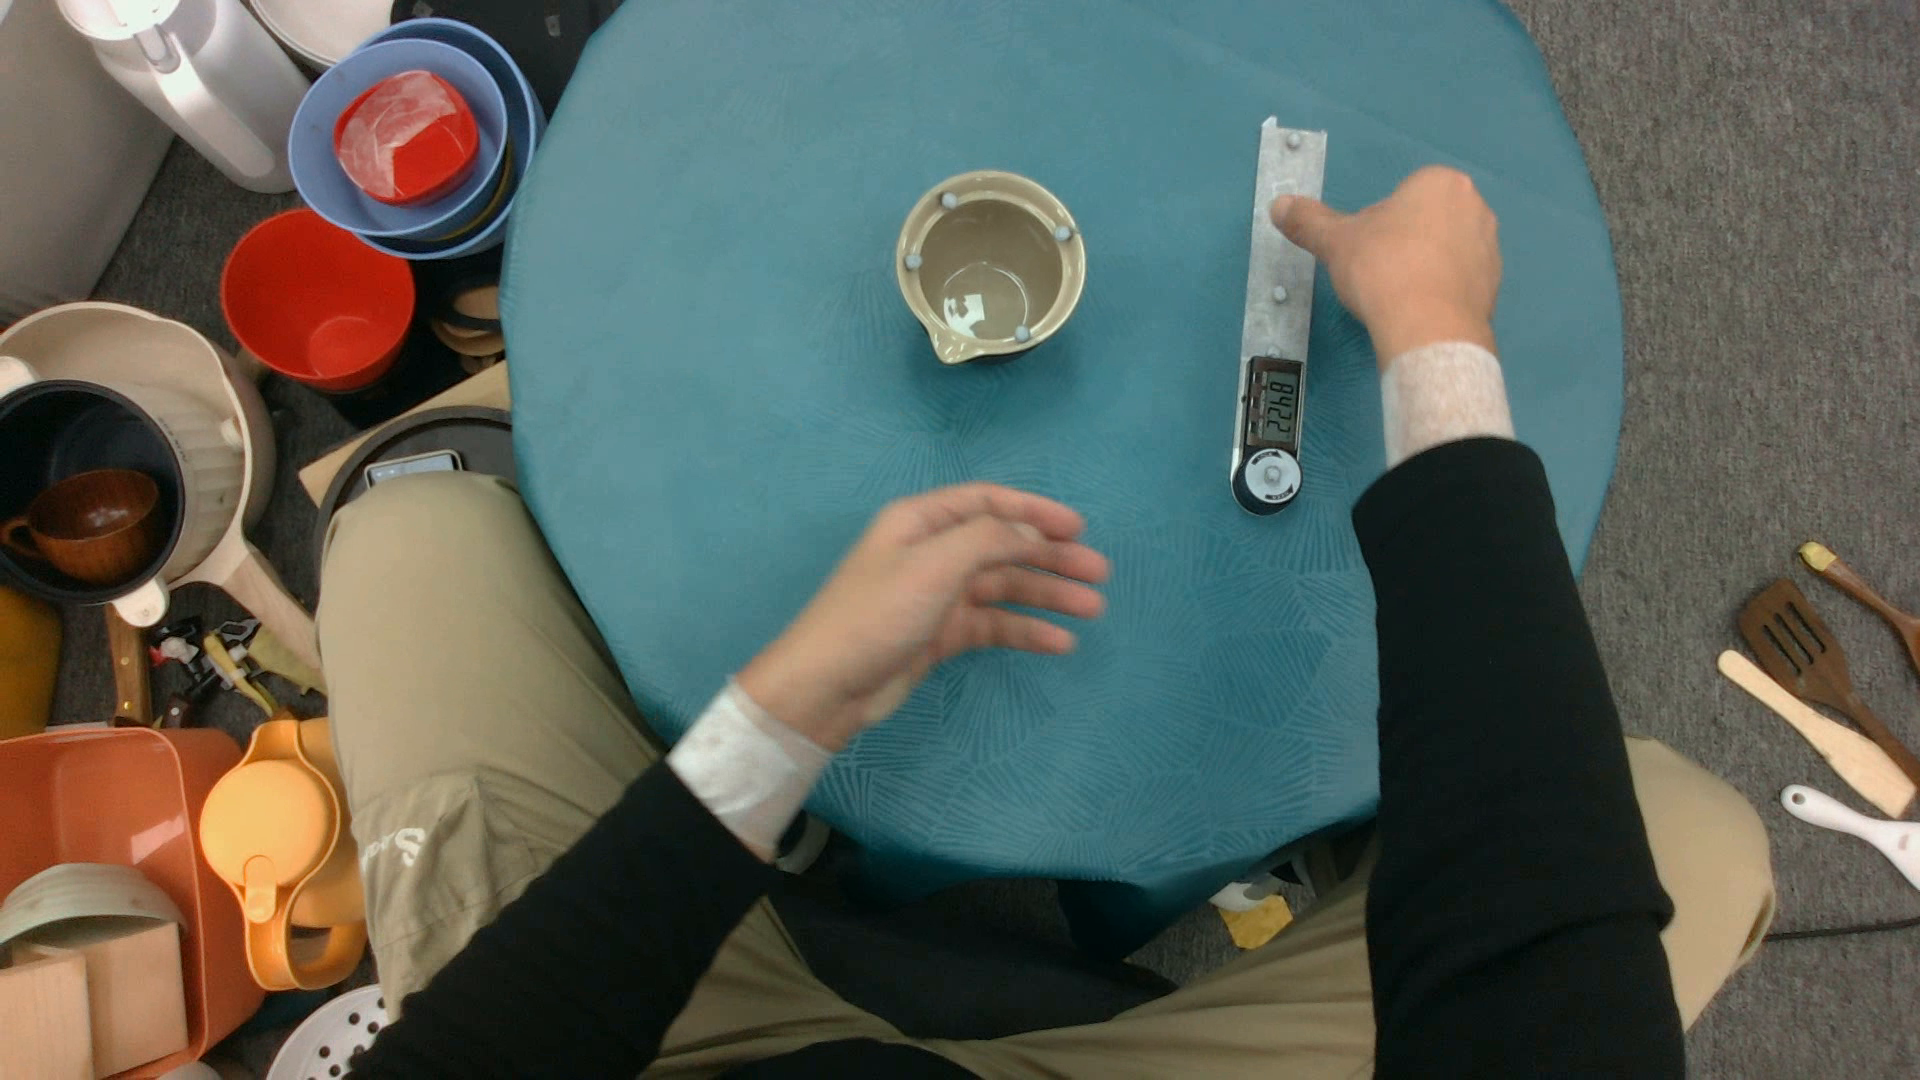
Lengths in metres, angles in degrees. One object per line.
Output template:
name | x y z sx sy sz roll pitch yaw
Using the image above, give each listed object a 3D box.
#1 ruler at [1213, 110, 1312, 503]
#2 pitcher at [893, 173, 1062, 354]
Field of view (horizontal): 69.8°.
ruler | 0.165 -0.128 0.733 0.038 0.024 0.218 9 81 -11
pitcher | 0.005 -0.129 0.699 0.083 0.071 0.096 24 79 1
